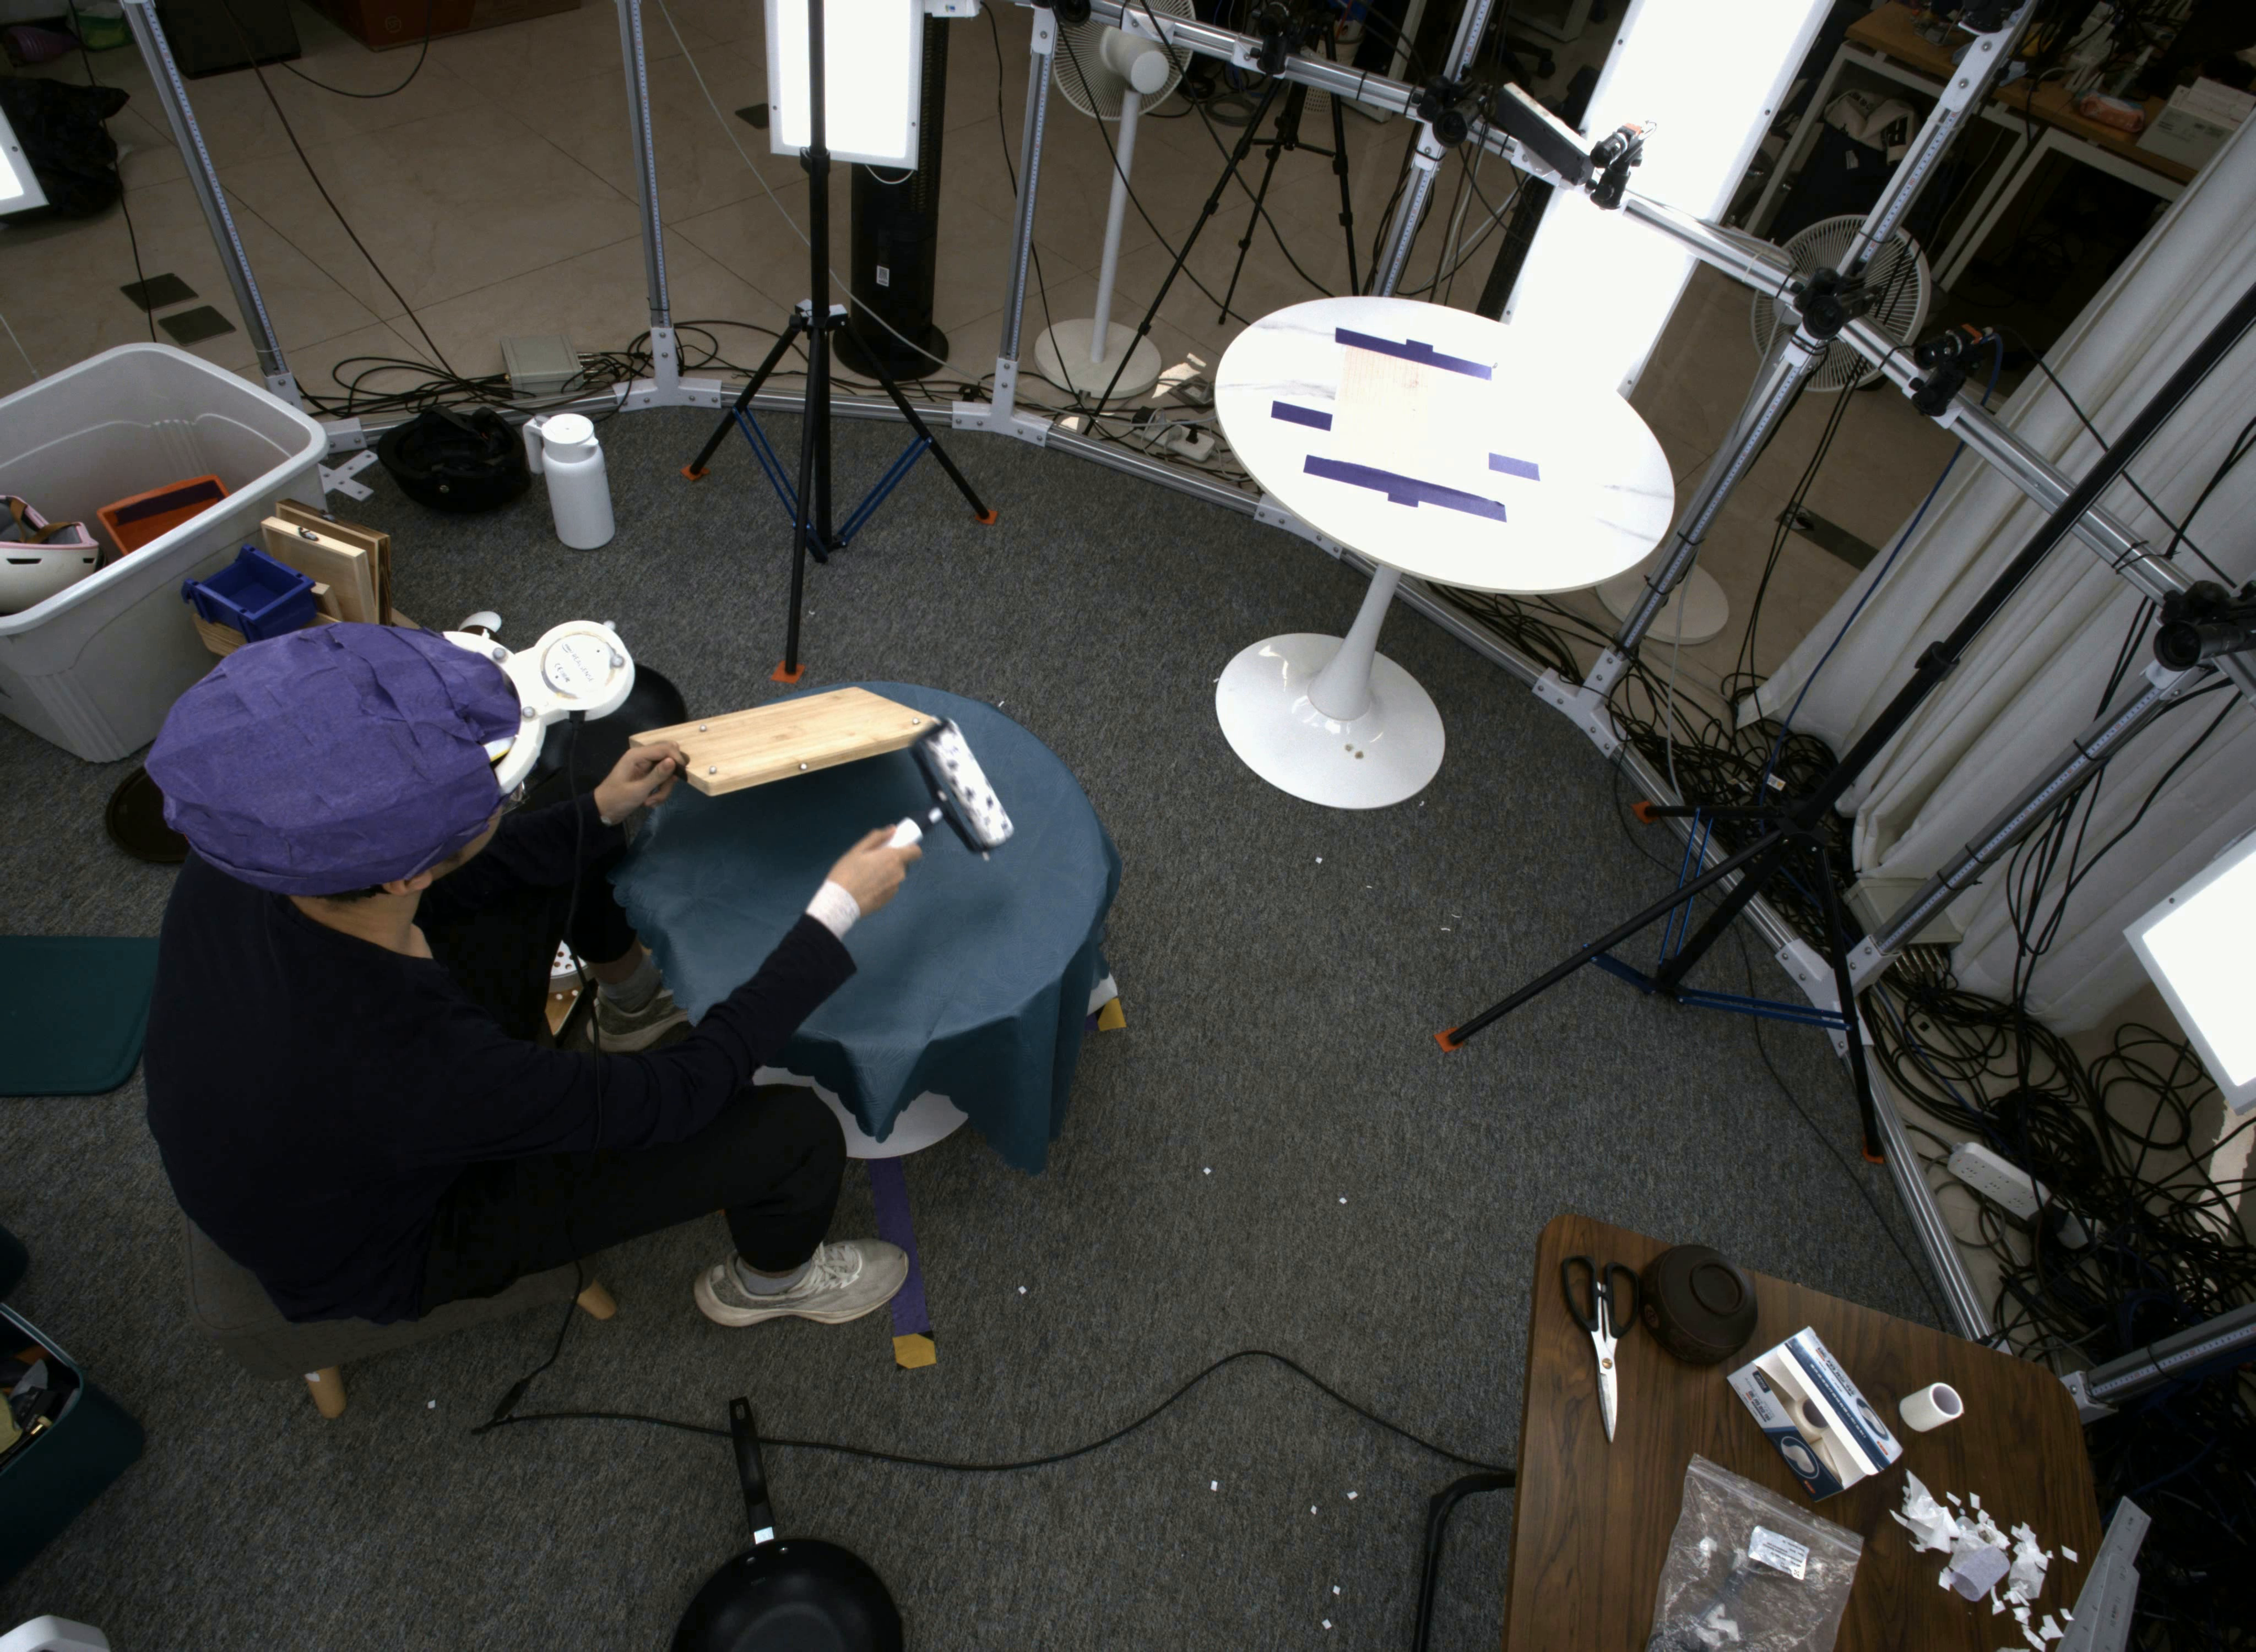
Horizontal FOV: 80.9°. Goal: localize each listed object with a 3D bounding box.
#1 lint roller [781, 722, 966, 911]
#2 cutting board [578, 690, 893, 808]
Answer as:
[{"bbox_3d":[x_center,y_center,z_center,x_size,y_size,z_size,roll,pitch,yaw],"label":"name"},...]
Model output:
[{"bbox_3d":[-0.317,0.017,1.566,0.048,0.183,0.247,11,48,45],"label":"lint roller"},{"bbox_3d":[-0.508,-0.107,1.666,0.241,0.024,0.352,19,30,41],"label":"cutting board"}]
